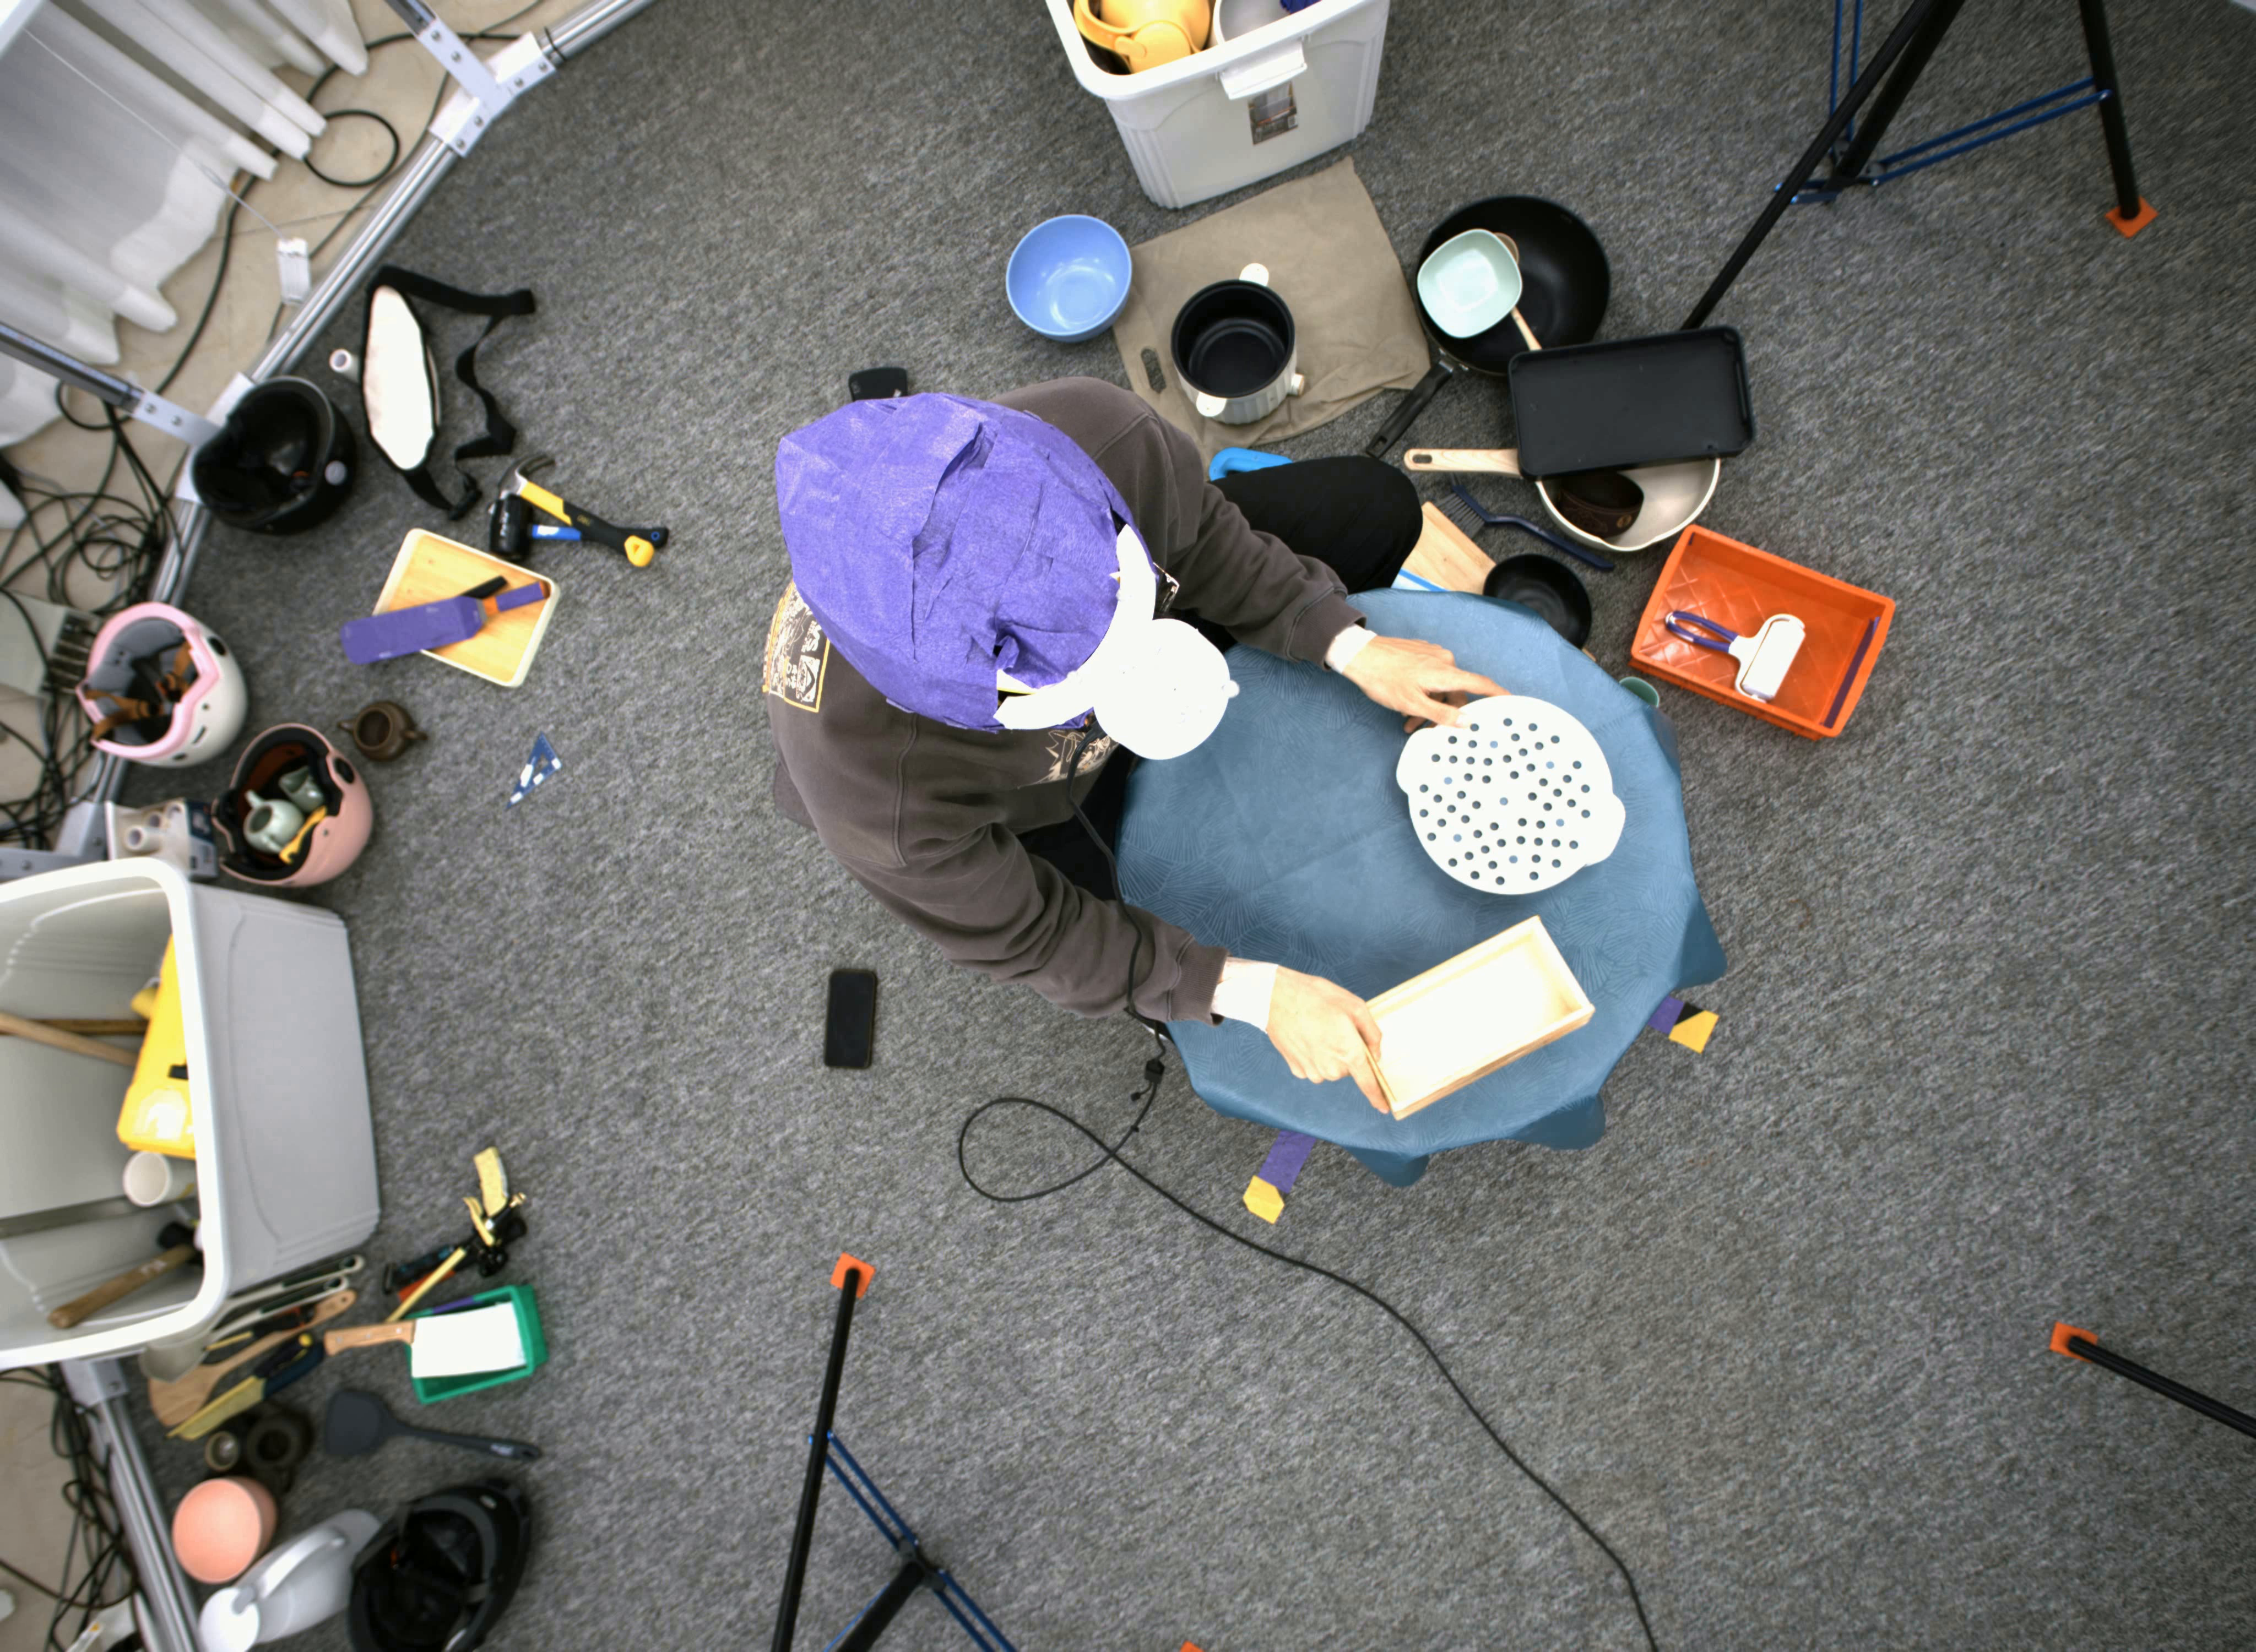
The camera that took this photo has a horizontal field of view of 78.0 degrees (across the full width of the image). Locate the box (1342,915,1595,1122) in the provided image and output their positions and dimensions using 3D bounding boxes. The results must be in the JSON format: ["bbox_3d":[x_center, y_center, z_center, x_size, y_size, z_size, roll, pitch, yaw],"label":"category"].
[{"bbox_3d":[0.328,0.186,1.336,0.212,0.081,0.106,-28,69,4],"label":"box"}]

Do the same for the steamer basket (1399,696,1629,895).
[{"bbox_3d":[0.392,-0.031,1.407,0.230,0.069,0.202,22,91,13],"label":"steamer basket"}]
